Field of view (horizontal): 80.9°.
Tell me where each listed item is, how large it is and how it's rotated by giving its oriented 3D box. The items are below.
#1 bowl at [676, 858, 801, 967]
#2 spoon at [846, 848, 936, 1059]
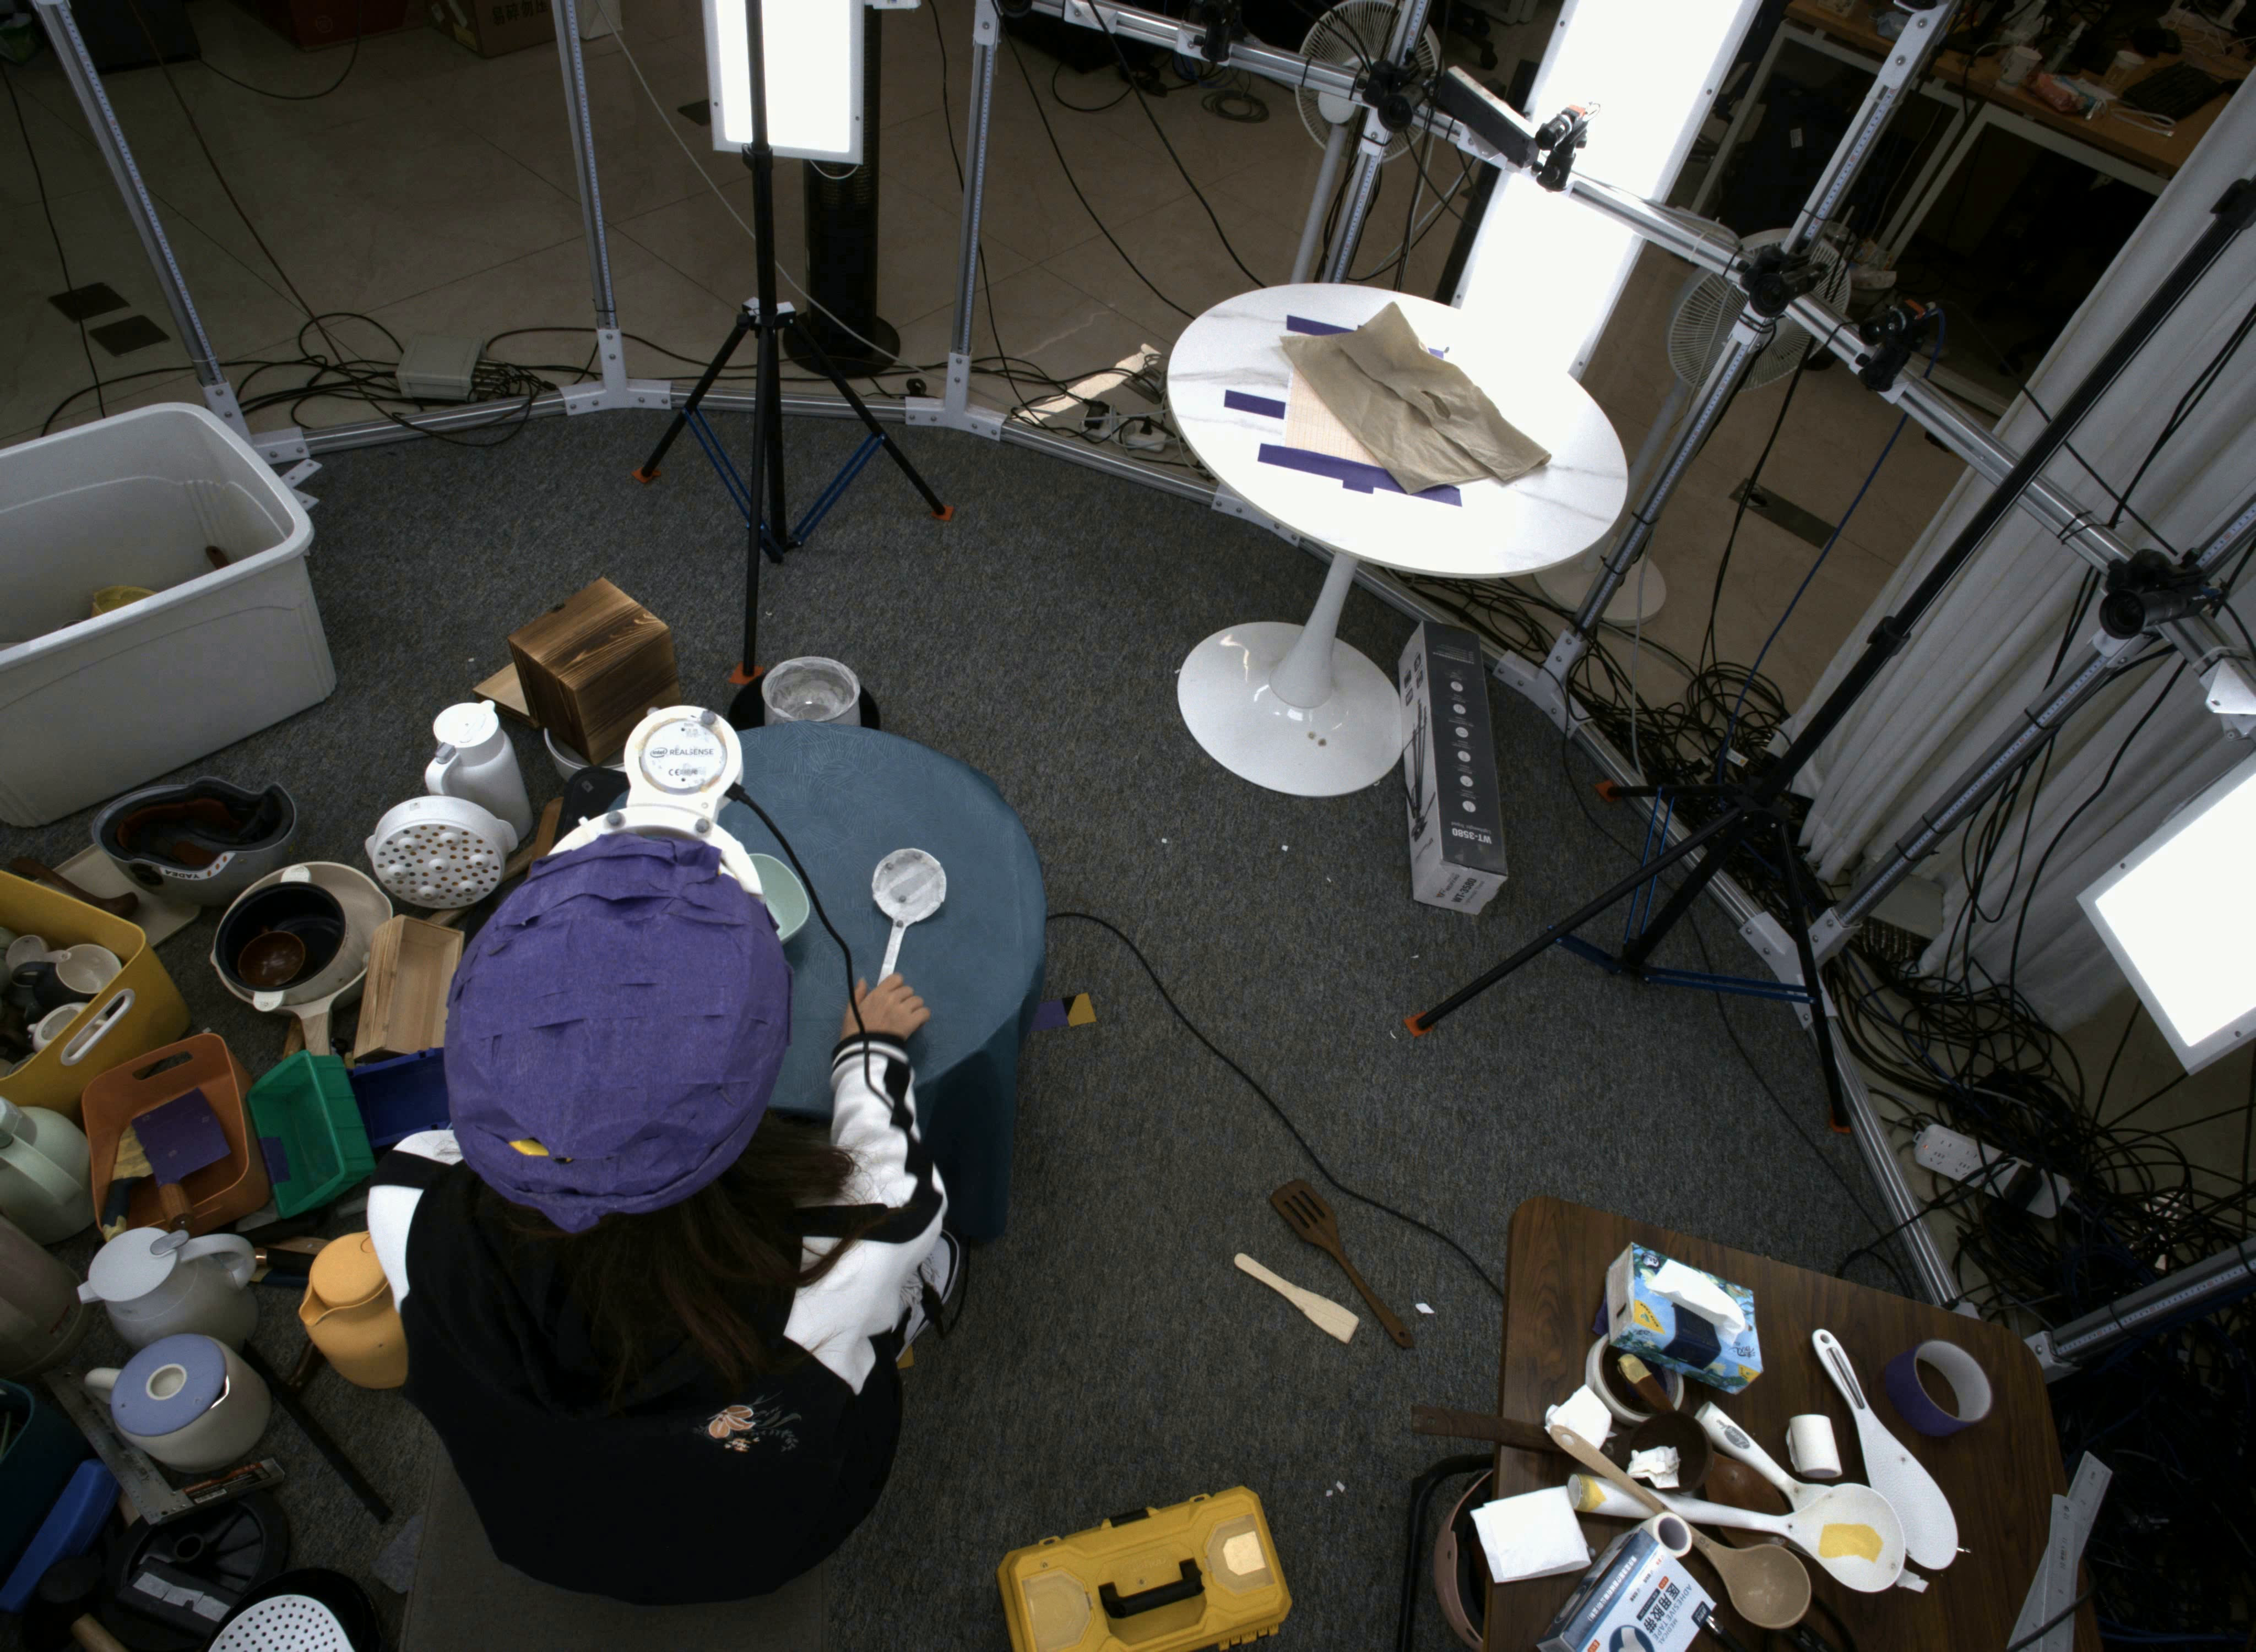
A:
[{"bbox_3d":[-0.476,0.114,1.586,0.151,0.060,0.149,8,52,-8],"label":"bowl"},{"bbox_3d":[-0.309,0.150,1.599,0.100,0.061,0.273,12,52,-2],"label":"spoon"}]
